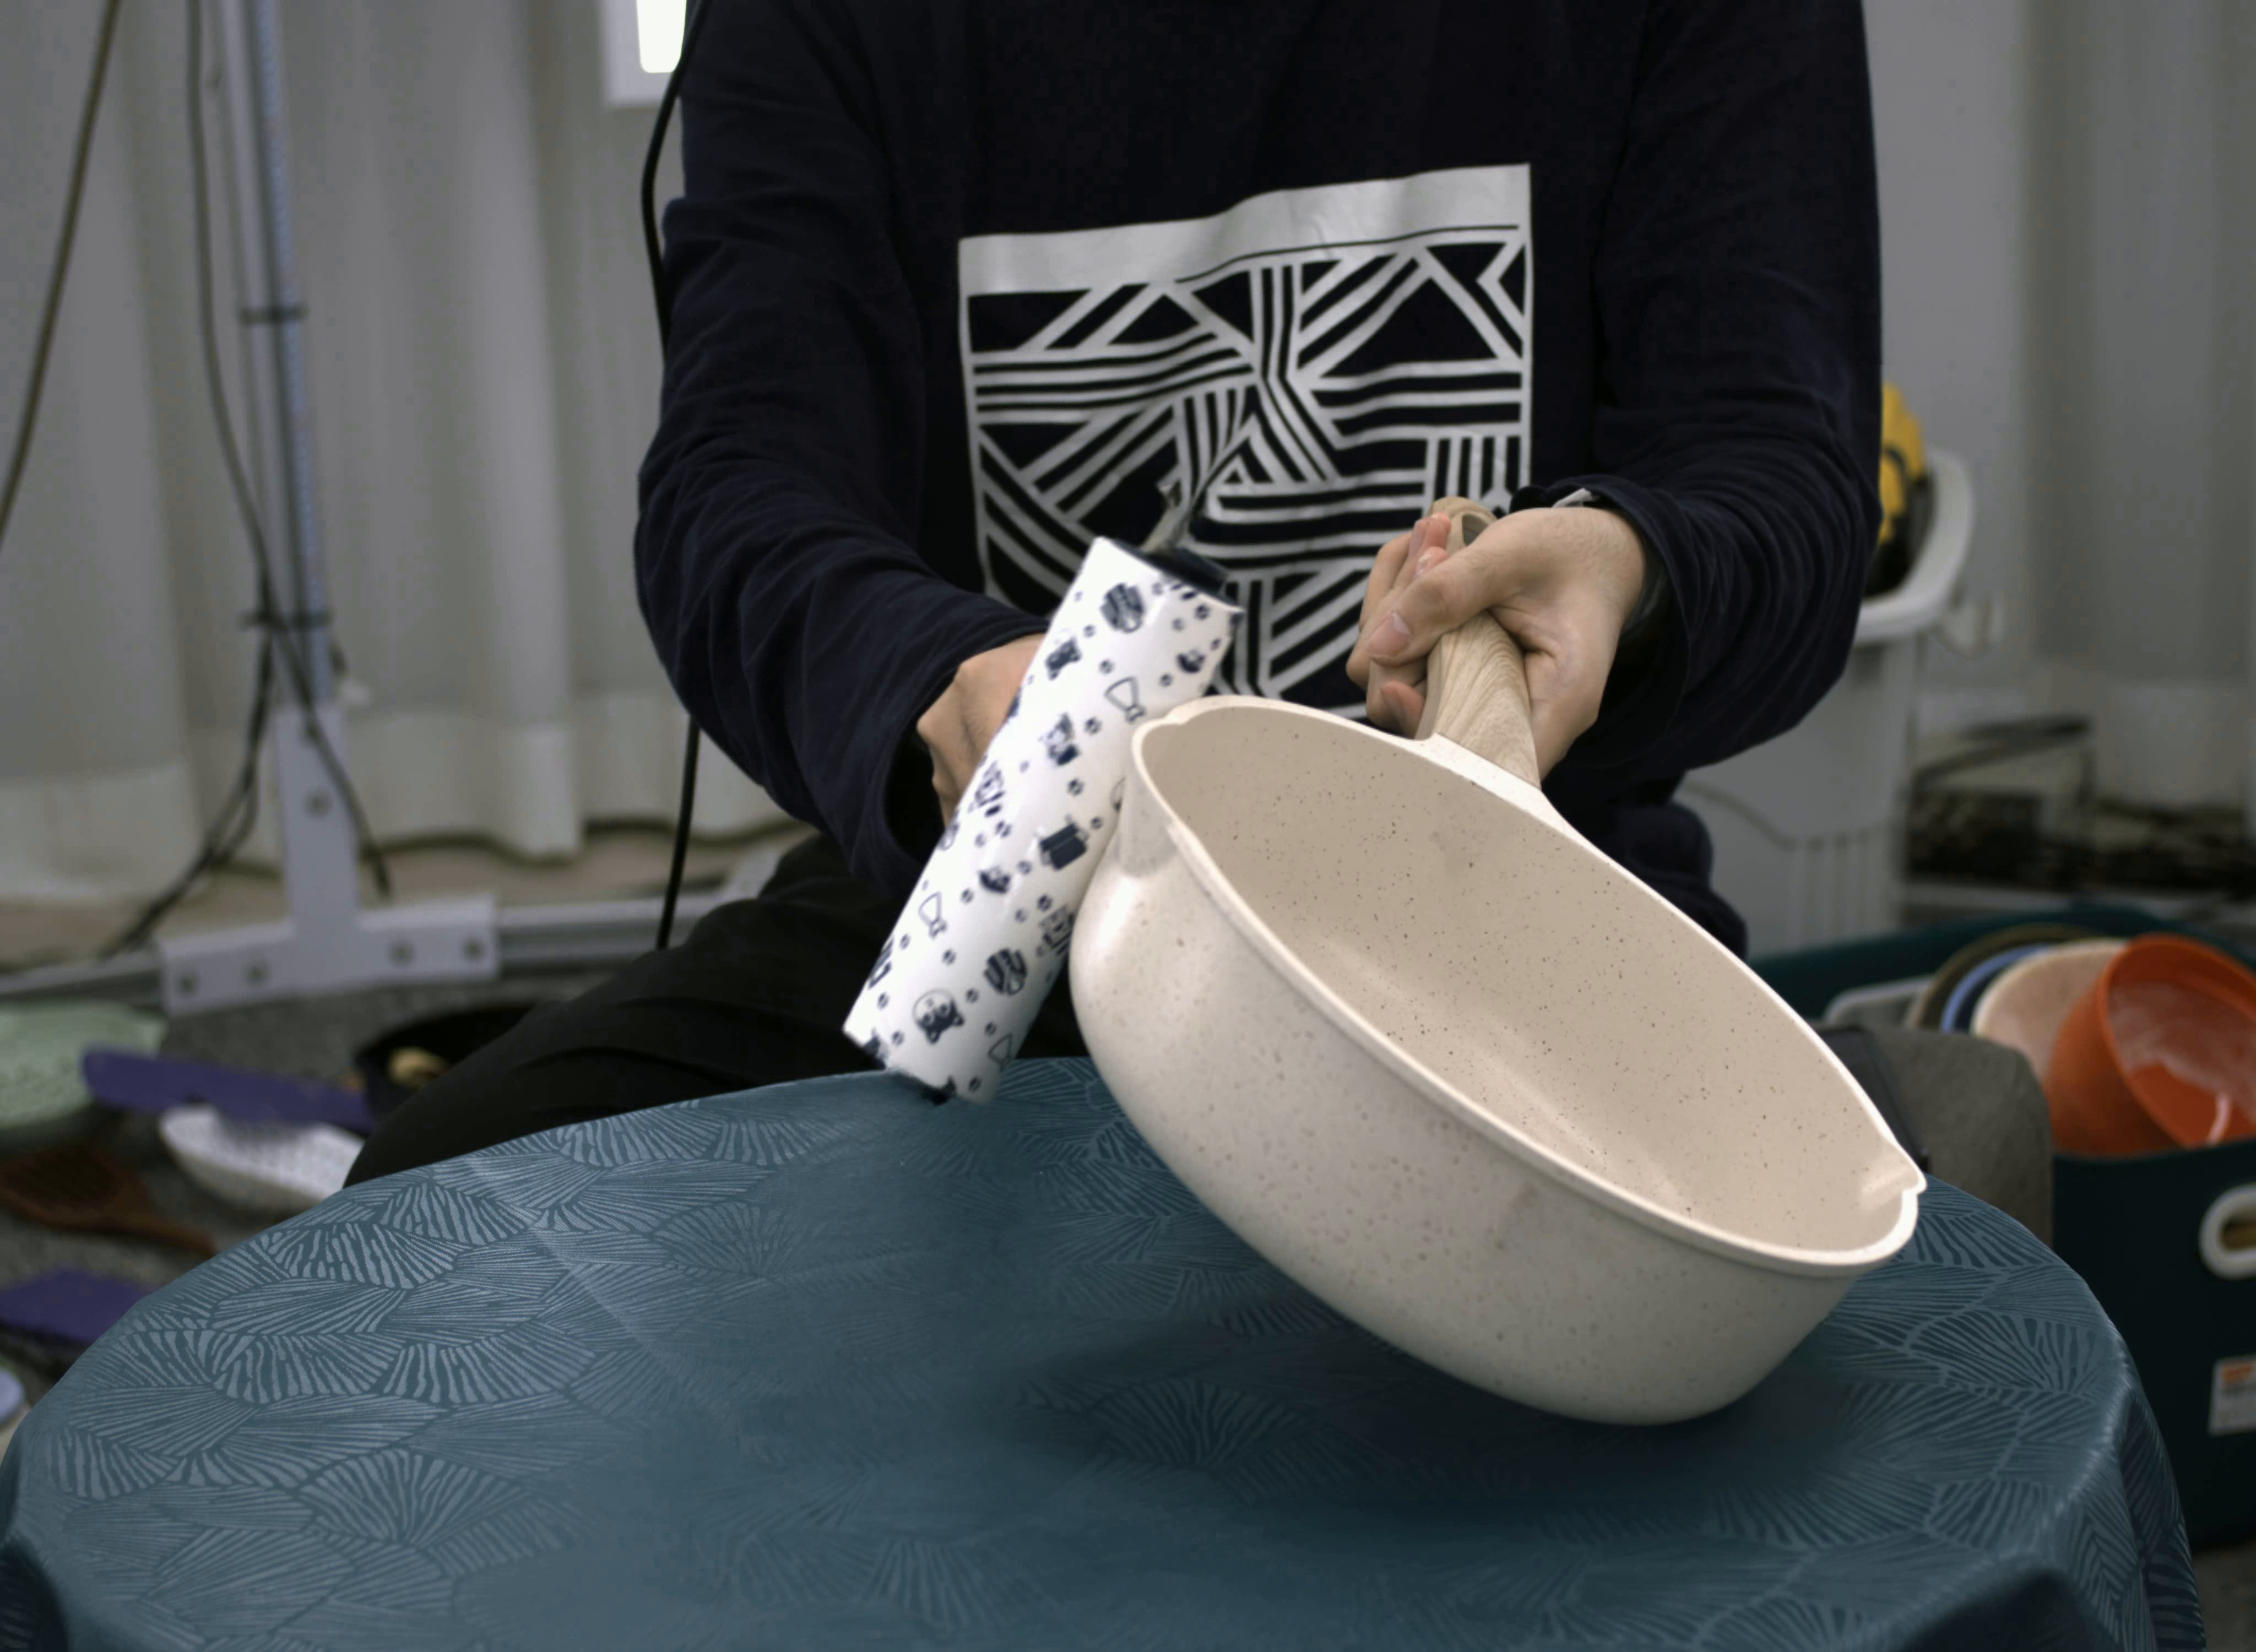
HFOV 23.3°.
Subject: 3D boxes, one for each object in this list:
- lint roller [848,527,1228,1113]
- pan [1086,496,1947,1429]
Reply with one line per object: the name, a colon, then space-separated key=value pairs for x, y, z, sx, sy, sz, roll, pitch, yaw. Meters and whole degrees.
lint roller: x=-0.019 y=-0.007 z=1.655 sx=0.050 sy=0.176 sz=0.247 roll=26 pitch=4 yaw=2
pan: x=0.097 y=0.027 z=1.605 sx=0.261 sy=0.101 sz=0.440 roll=26 pitch=21 yaw=-14
